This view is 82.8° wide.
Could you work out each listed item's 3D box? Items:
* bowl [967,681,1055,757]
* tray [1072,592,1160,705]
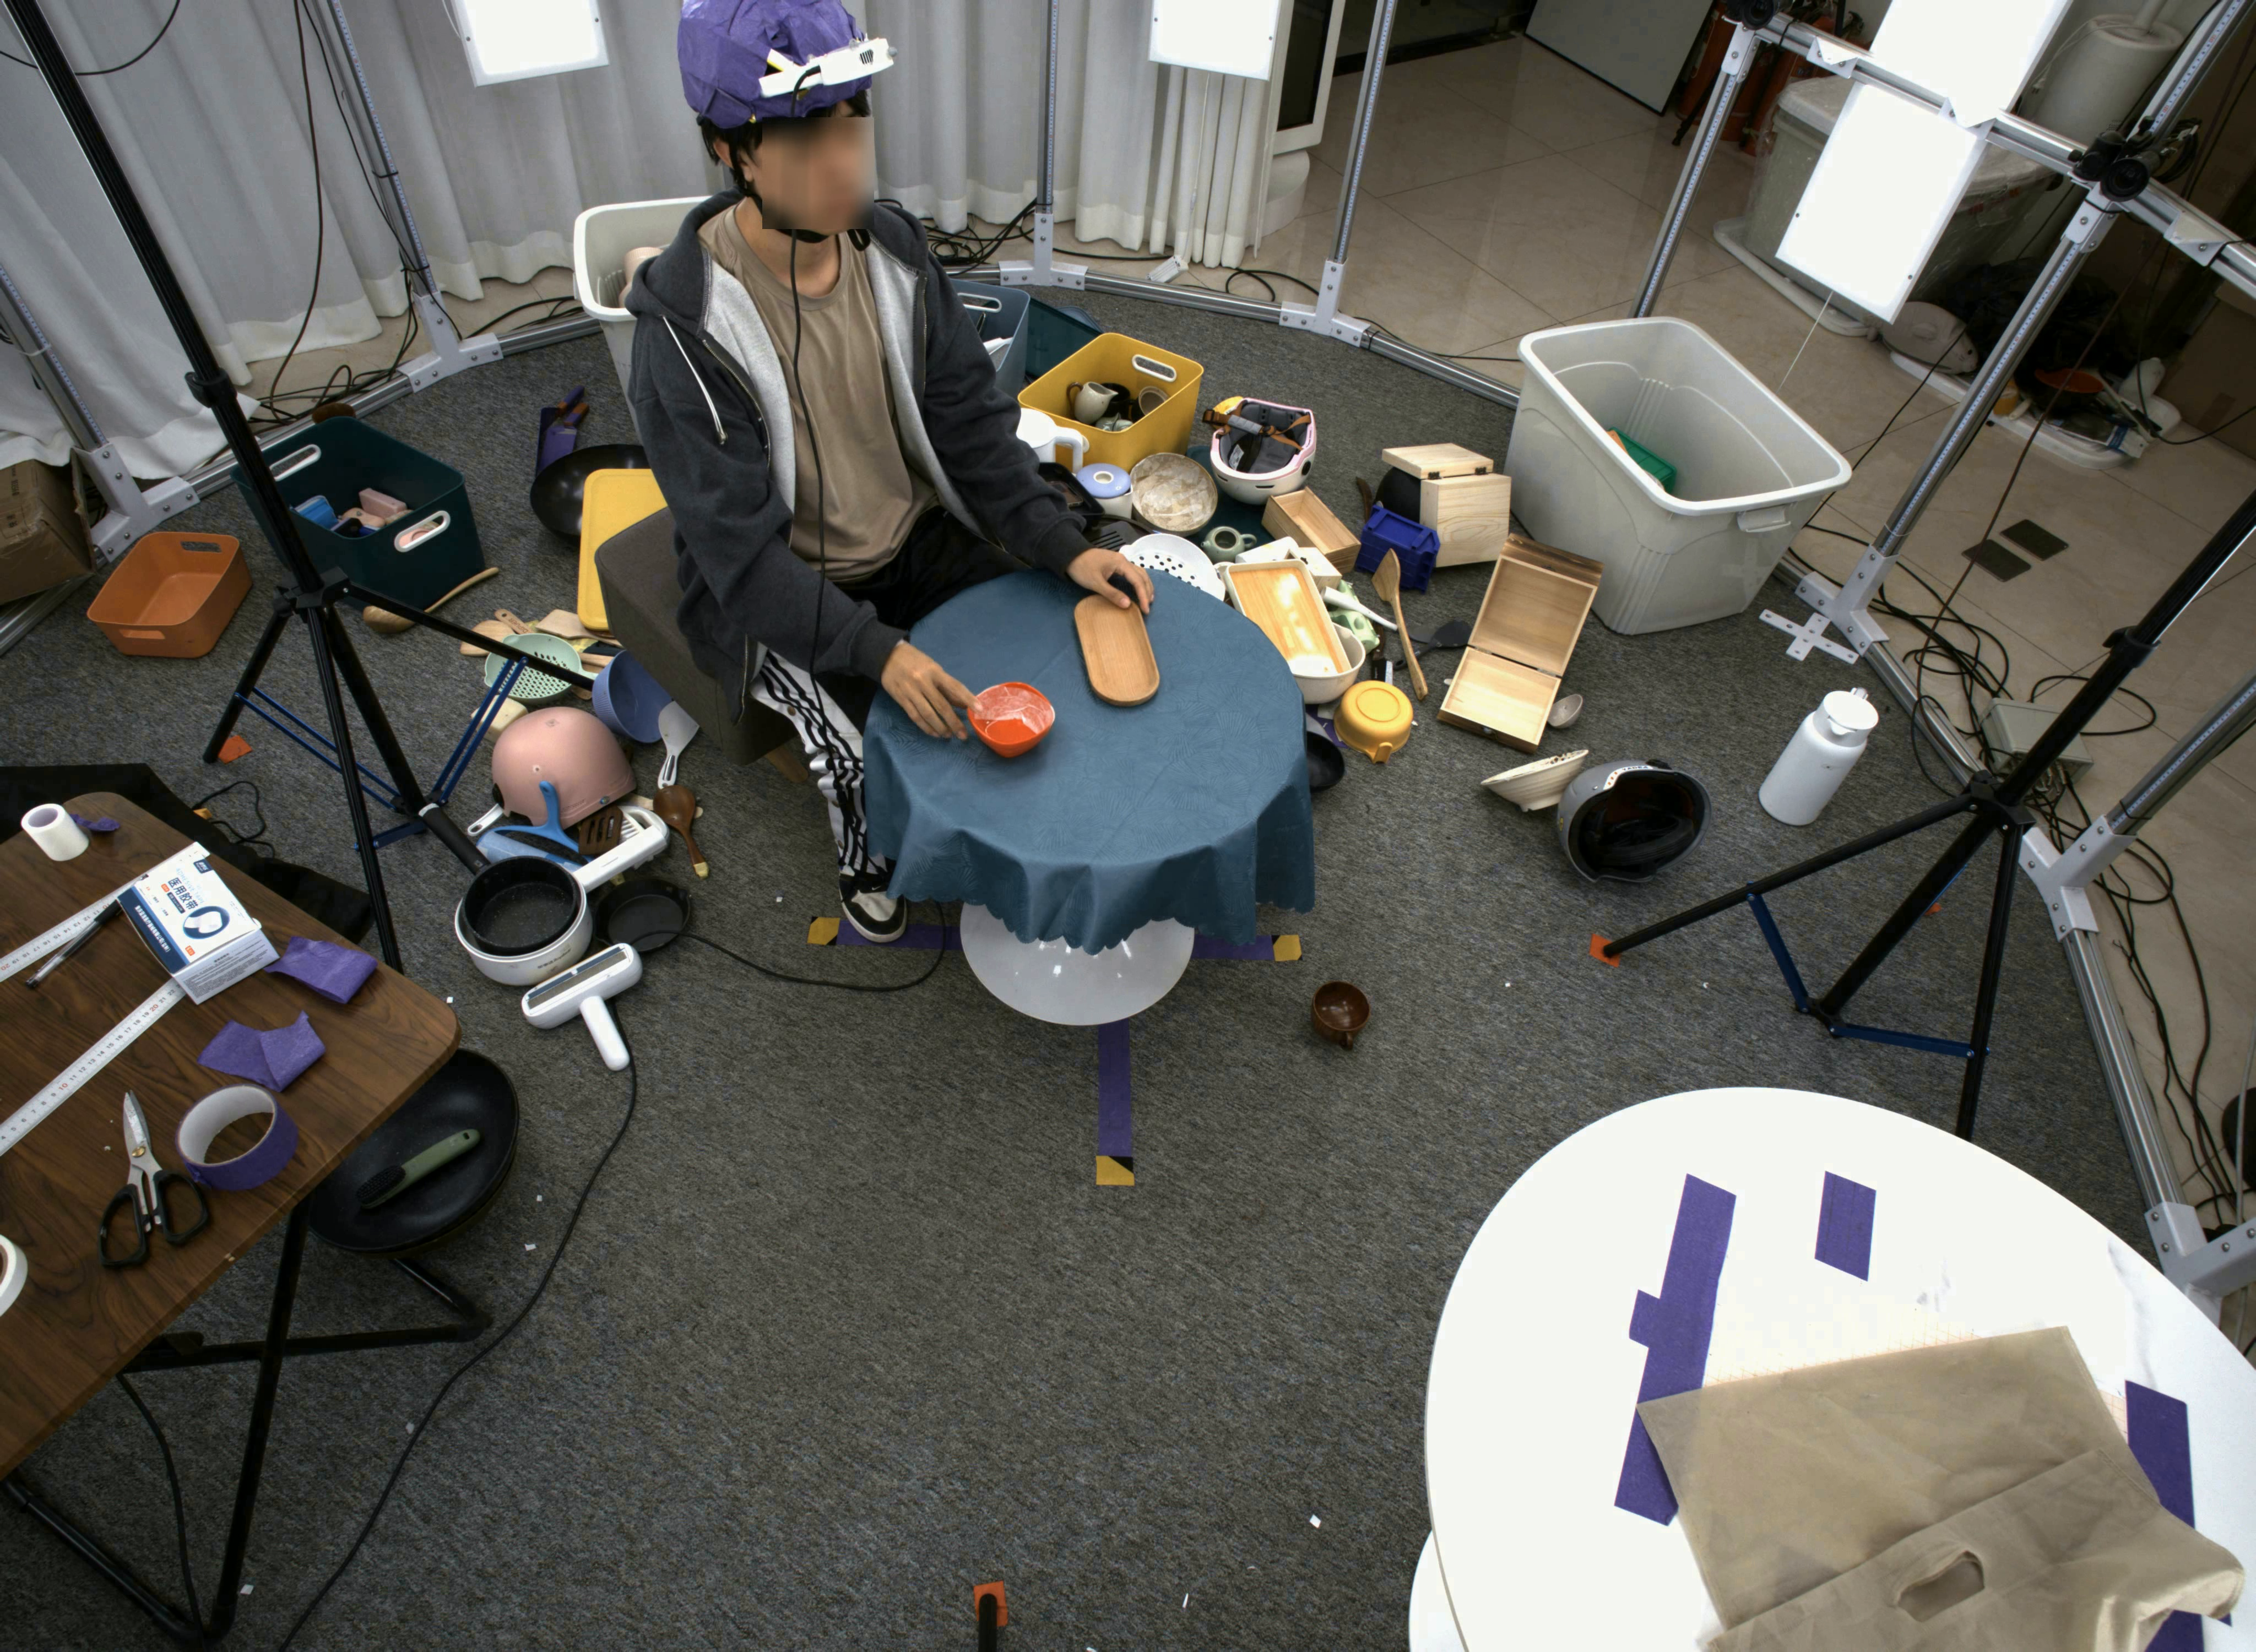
[{"bbox_3d":[-0.158,-0.139,1.741,0.119,0.050,0.122,2,50,-2],"label":"bowl"},{"bbox_3d":[-0.019,-0.262,1.882,0.101,0.020,0.237,-7,49,-11],"label":"tray"}]
